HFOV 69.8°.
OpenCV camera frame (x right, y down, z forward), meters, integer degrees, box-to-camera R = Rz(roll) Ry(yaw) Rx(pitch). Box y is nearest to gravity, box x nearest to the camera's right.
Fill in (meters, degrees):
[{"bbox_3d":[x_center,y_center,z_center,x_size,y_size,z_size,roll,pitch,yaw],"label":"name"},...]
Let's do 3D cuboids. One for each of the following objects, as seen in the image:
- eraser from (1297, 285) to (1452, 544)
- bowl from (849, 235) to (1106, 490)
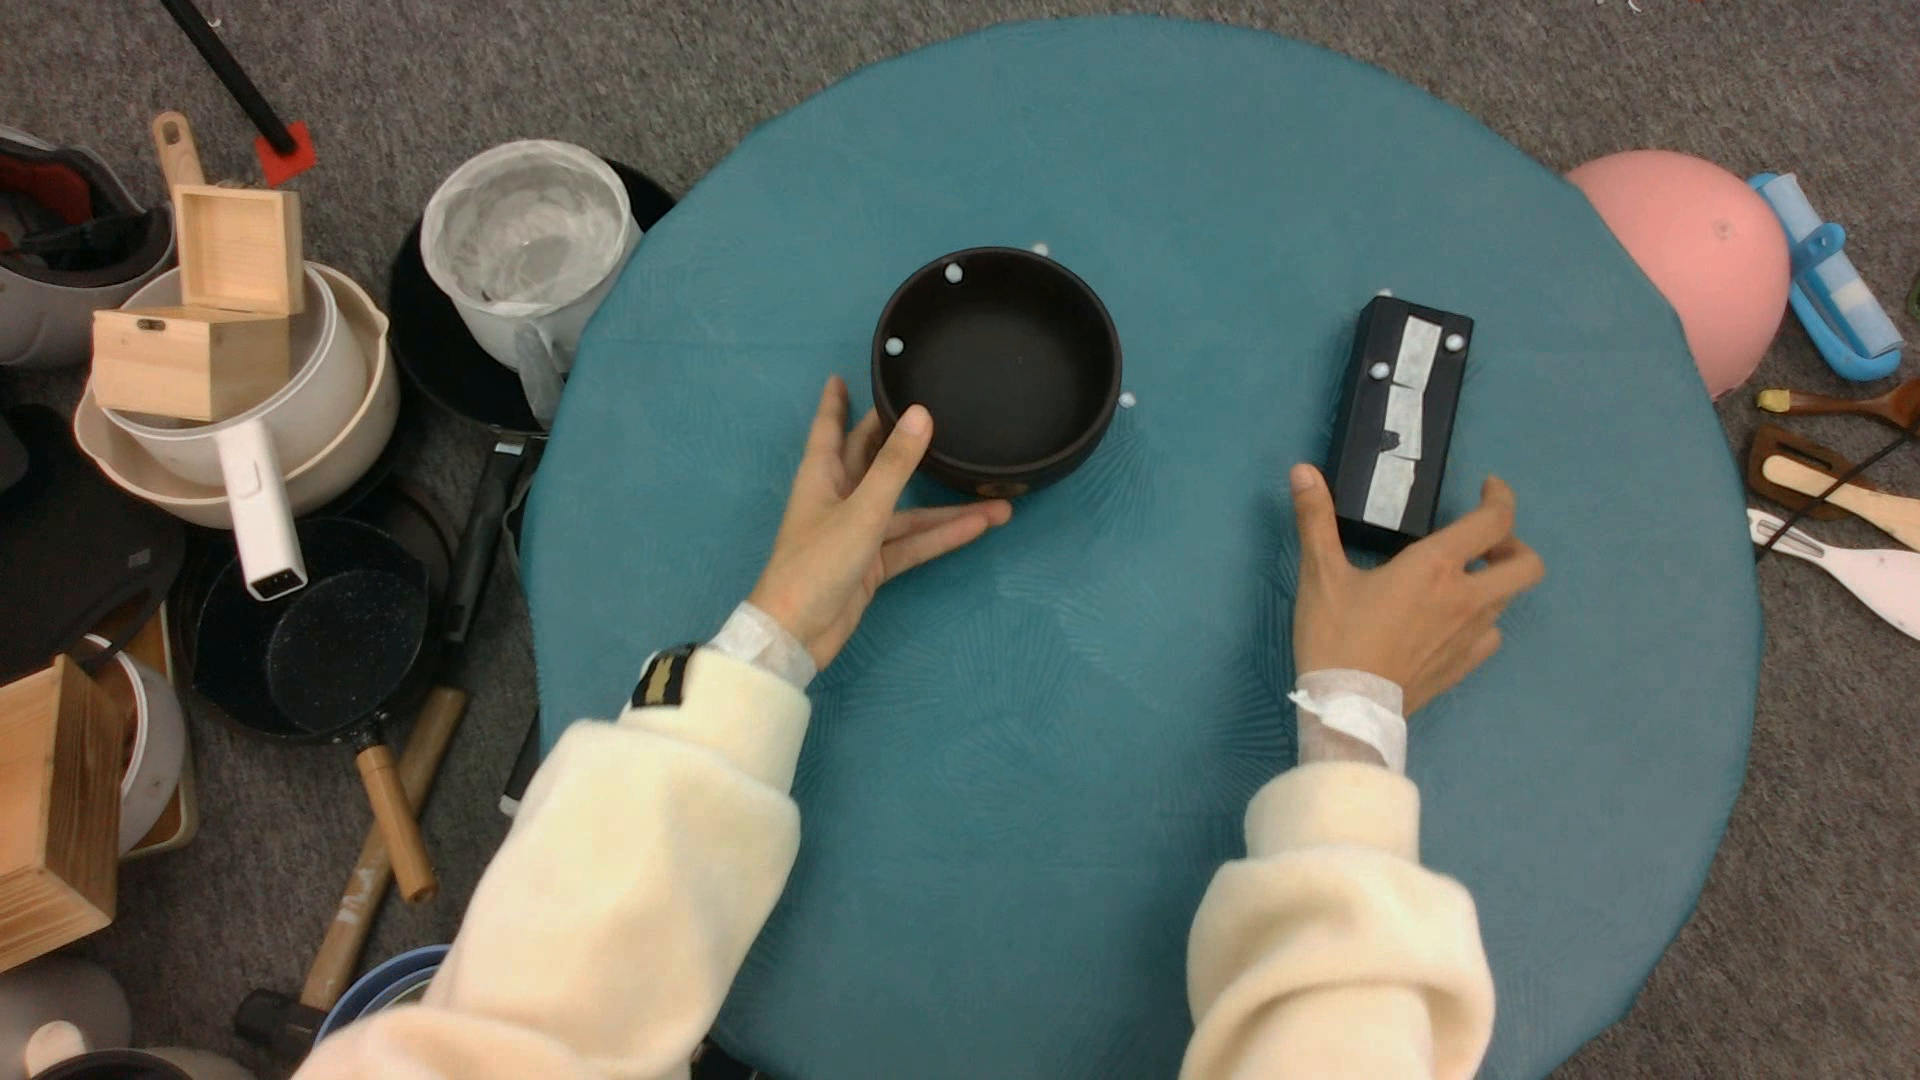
[{"bbox_3d":[0.205,-0.063,0.683,0.053,0.030,0.126,15,75,3],"label":"eraser"},{"bbox_3d":[0.007,-0.078,0.655,0.118,0.069,0.118,1,73,-2],"label":"bowl"}]
